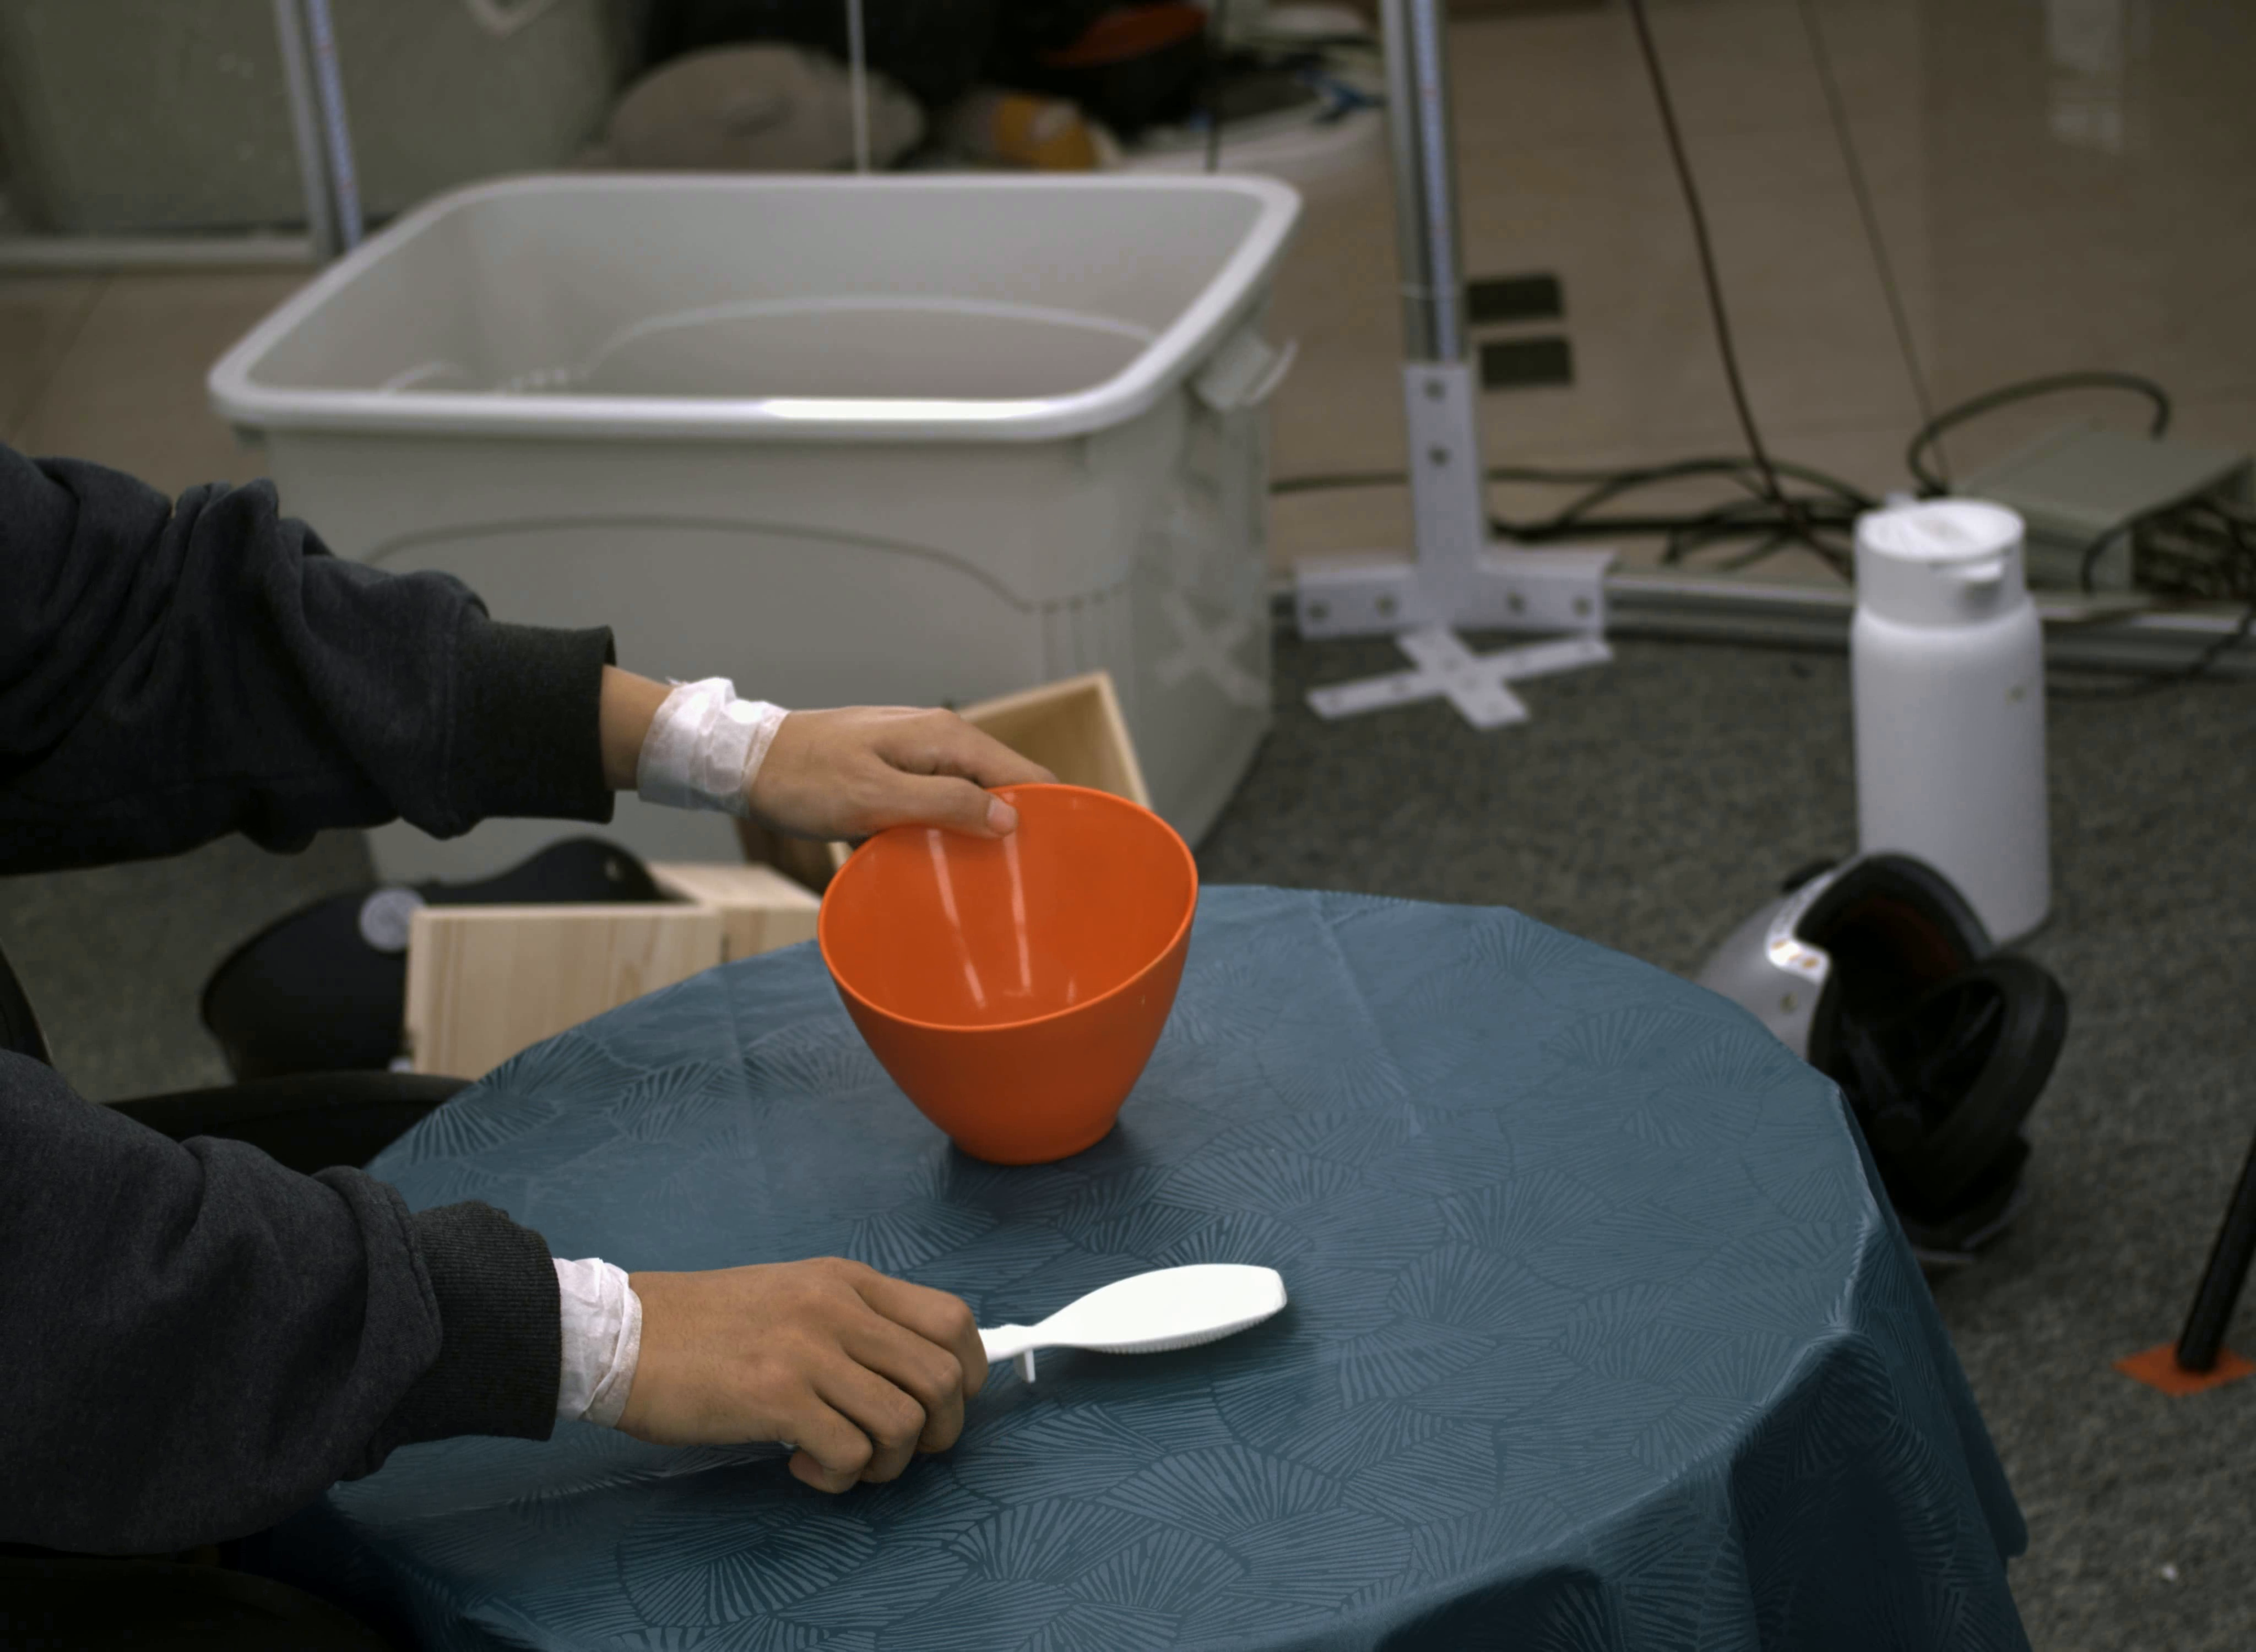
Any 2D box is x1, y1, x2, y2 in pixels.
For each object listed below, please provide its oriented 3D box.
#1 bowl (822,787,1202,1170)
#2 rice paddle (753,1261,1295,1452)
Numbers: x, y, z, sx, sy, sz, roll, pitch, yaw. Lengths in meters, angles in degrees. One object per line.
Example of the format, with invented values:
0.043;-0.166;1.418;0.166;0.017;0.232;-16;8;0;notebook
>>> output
-0.041;0.066;2.188;0.148;0.106;0.145;-5;29;3;bowl
-0.034;0.182;2.017;0.204;0.030;0.068;-13;20;-23;rice paddle
